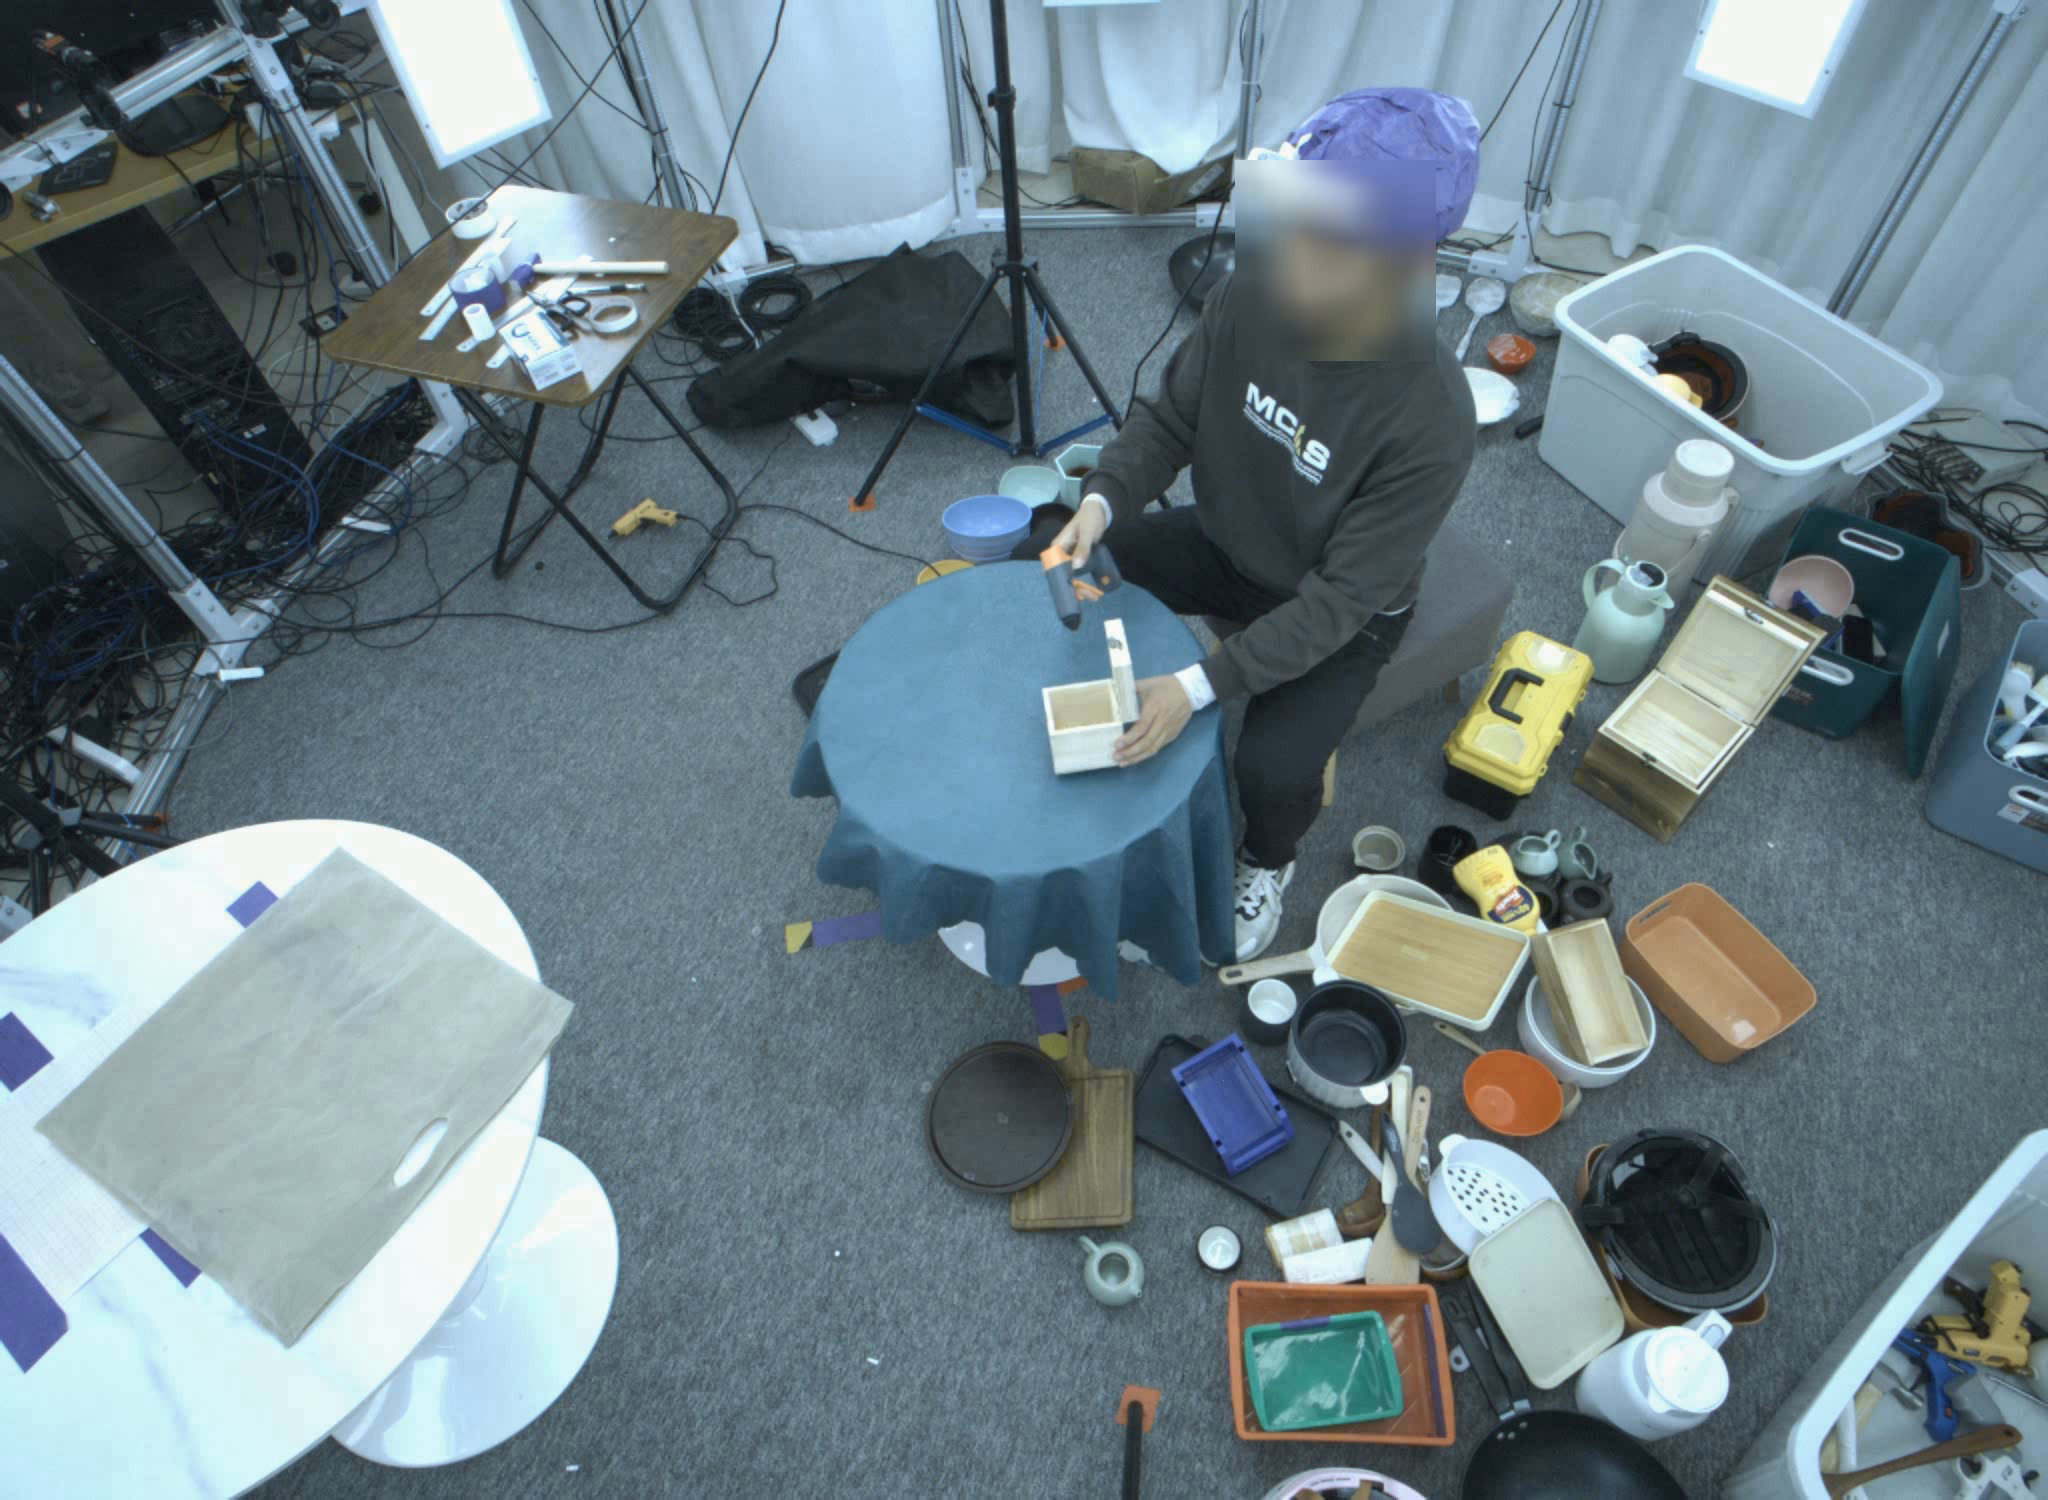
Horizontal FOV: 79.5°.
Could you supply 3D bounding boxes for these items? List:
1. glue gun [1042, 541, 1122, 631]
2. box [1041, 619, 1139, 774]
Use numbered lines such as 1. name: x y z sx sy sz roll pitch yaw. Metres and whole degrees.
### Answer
1. glue gun: 0.080 -0.236 1.724 0.141 0.040 0.118 -34 100 -49
2. box: 0.088 -0.074 1.711 0.134 0.187 0.101 -10 44 -1
